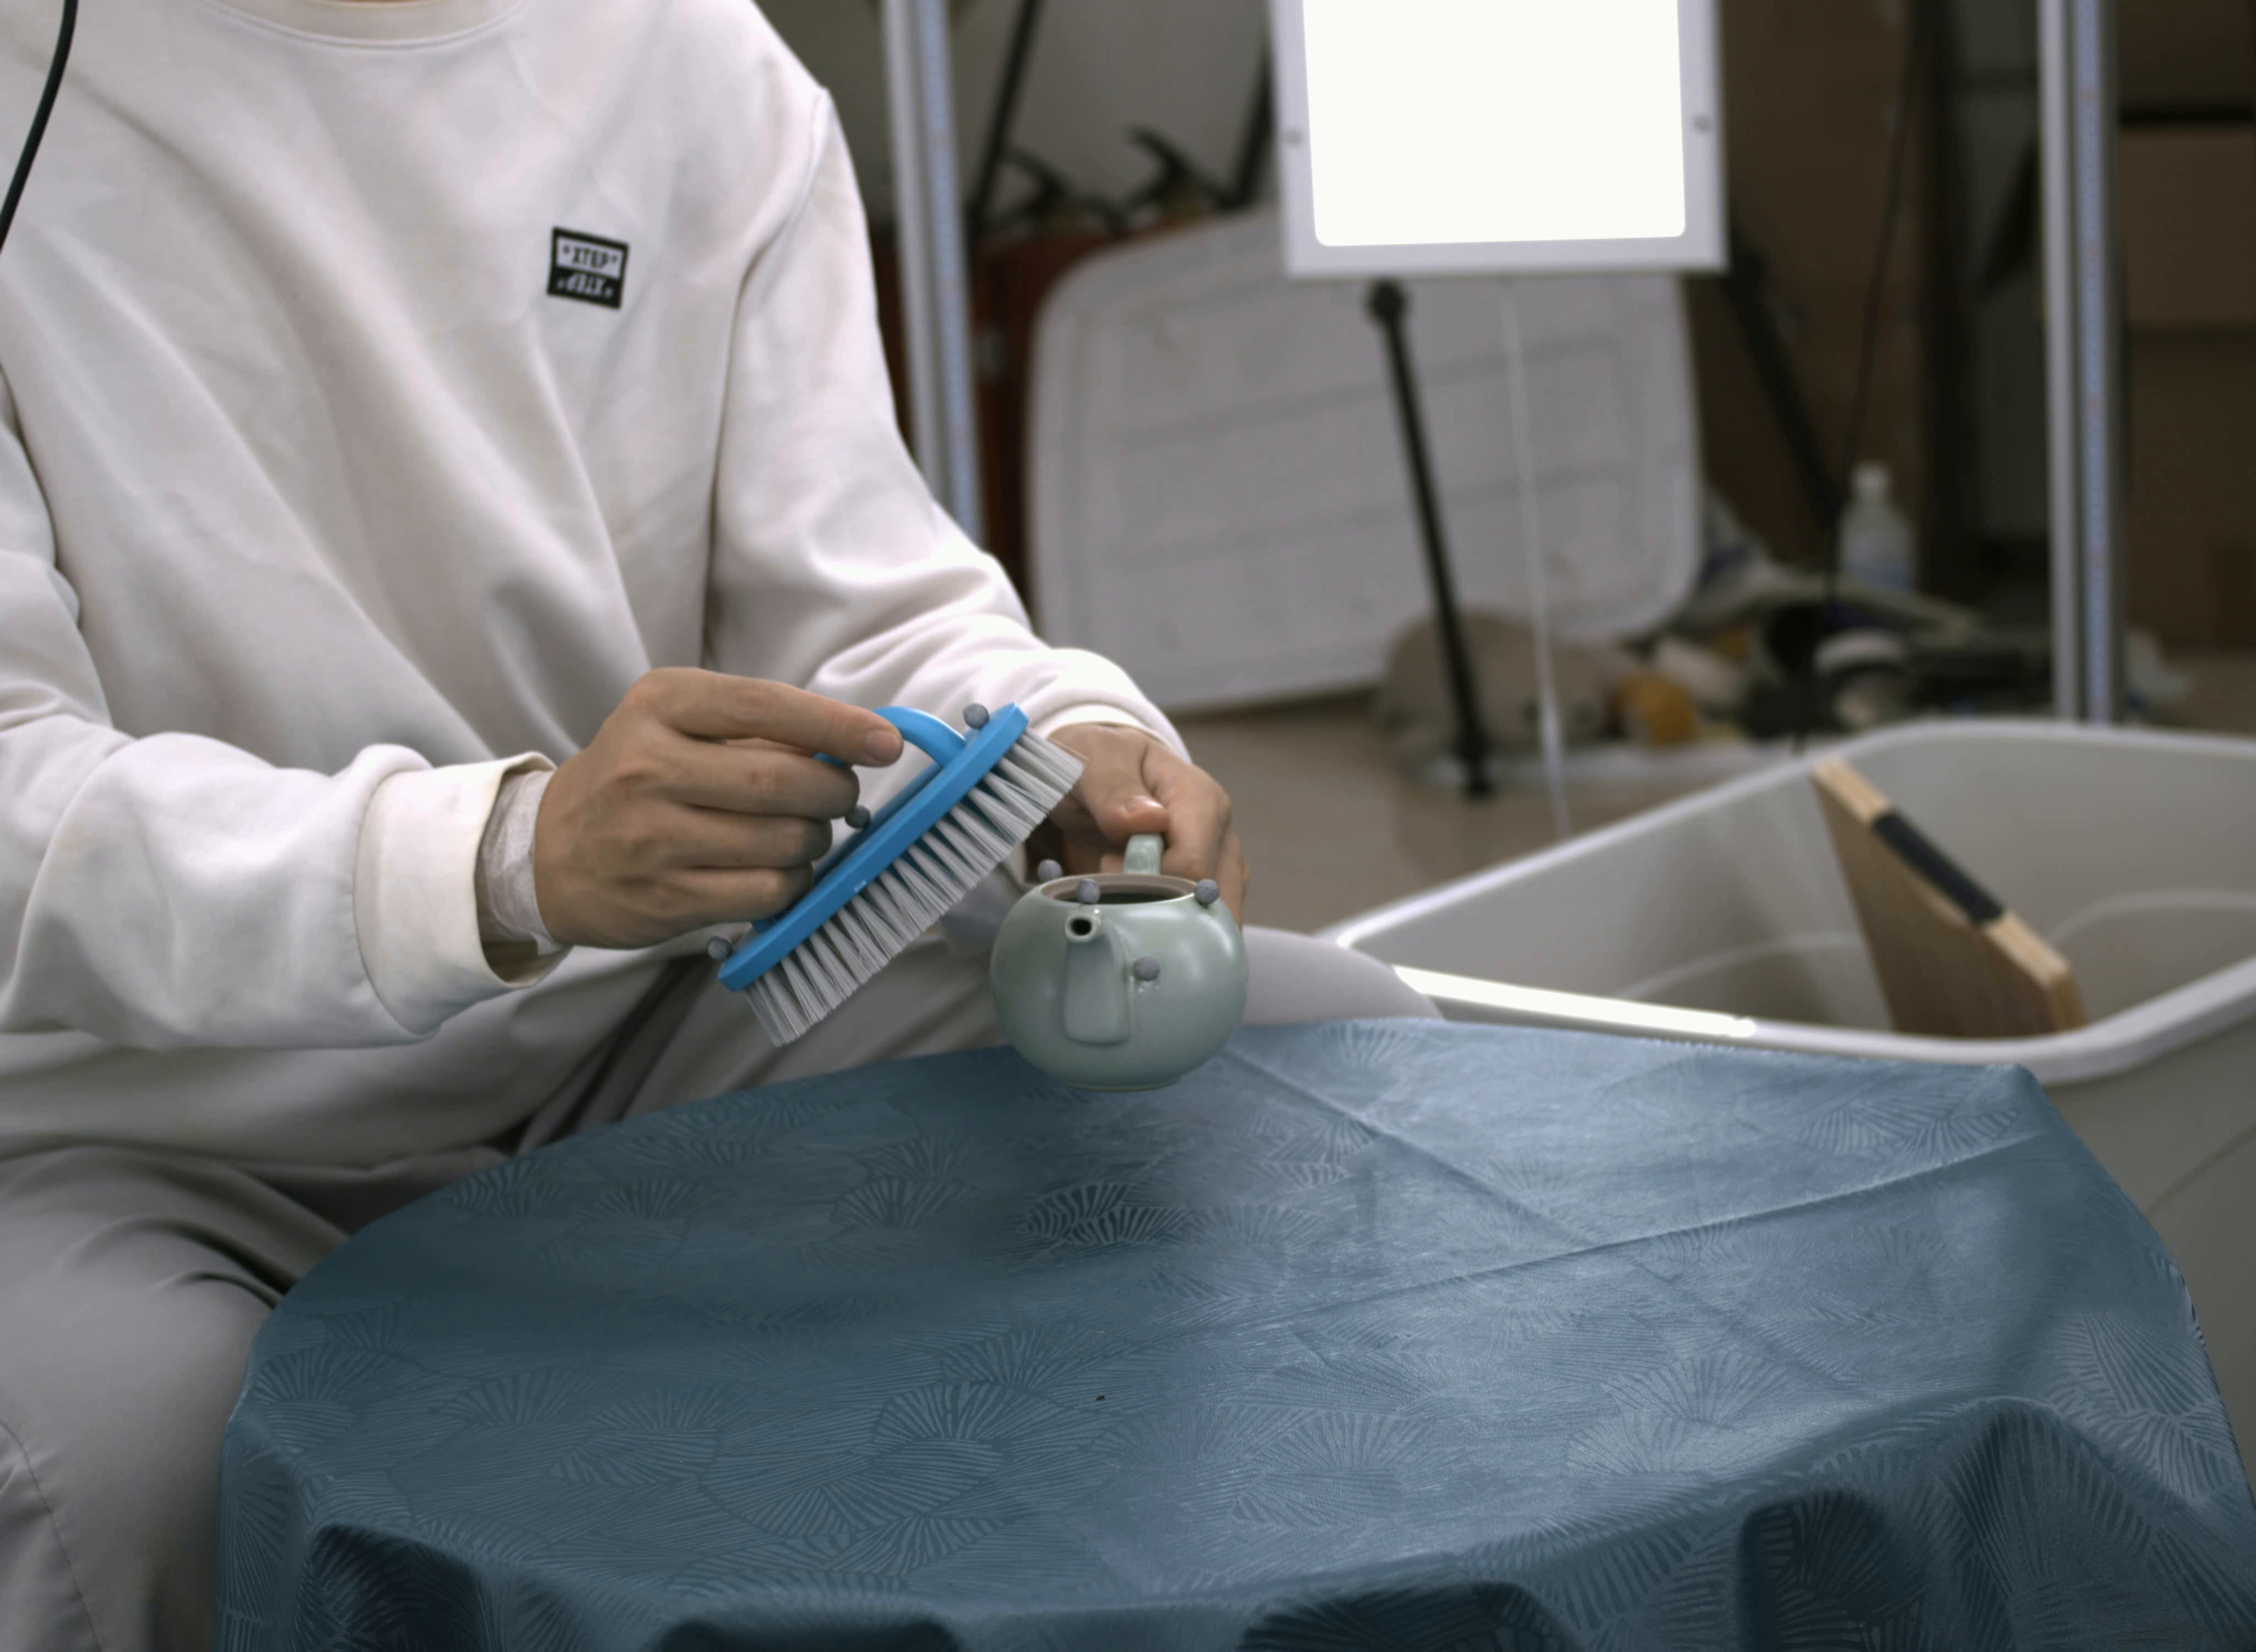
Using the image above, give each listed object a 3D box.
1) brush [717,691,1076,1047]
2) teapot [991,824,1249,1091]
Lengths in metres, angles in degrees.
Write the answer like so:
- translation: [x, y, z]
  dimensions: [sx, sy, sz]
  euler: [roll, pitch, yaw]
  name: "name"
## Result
- translation: [-0.086, 0.006, 1.808]
  dimensions: [0.143, 0.063, 0.084]
  euler: [-42, 12, 18]
  name: "brush"
- translation: [-0.003, 0.049, 1.865]
  dimensions: [0.089, 0.075, 0.142]
  euler: [0, 14, 14]
  name: "teapot"
